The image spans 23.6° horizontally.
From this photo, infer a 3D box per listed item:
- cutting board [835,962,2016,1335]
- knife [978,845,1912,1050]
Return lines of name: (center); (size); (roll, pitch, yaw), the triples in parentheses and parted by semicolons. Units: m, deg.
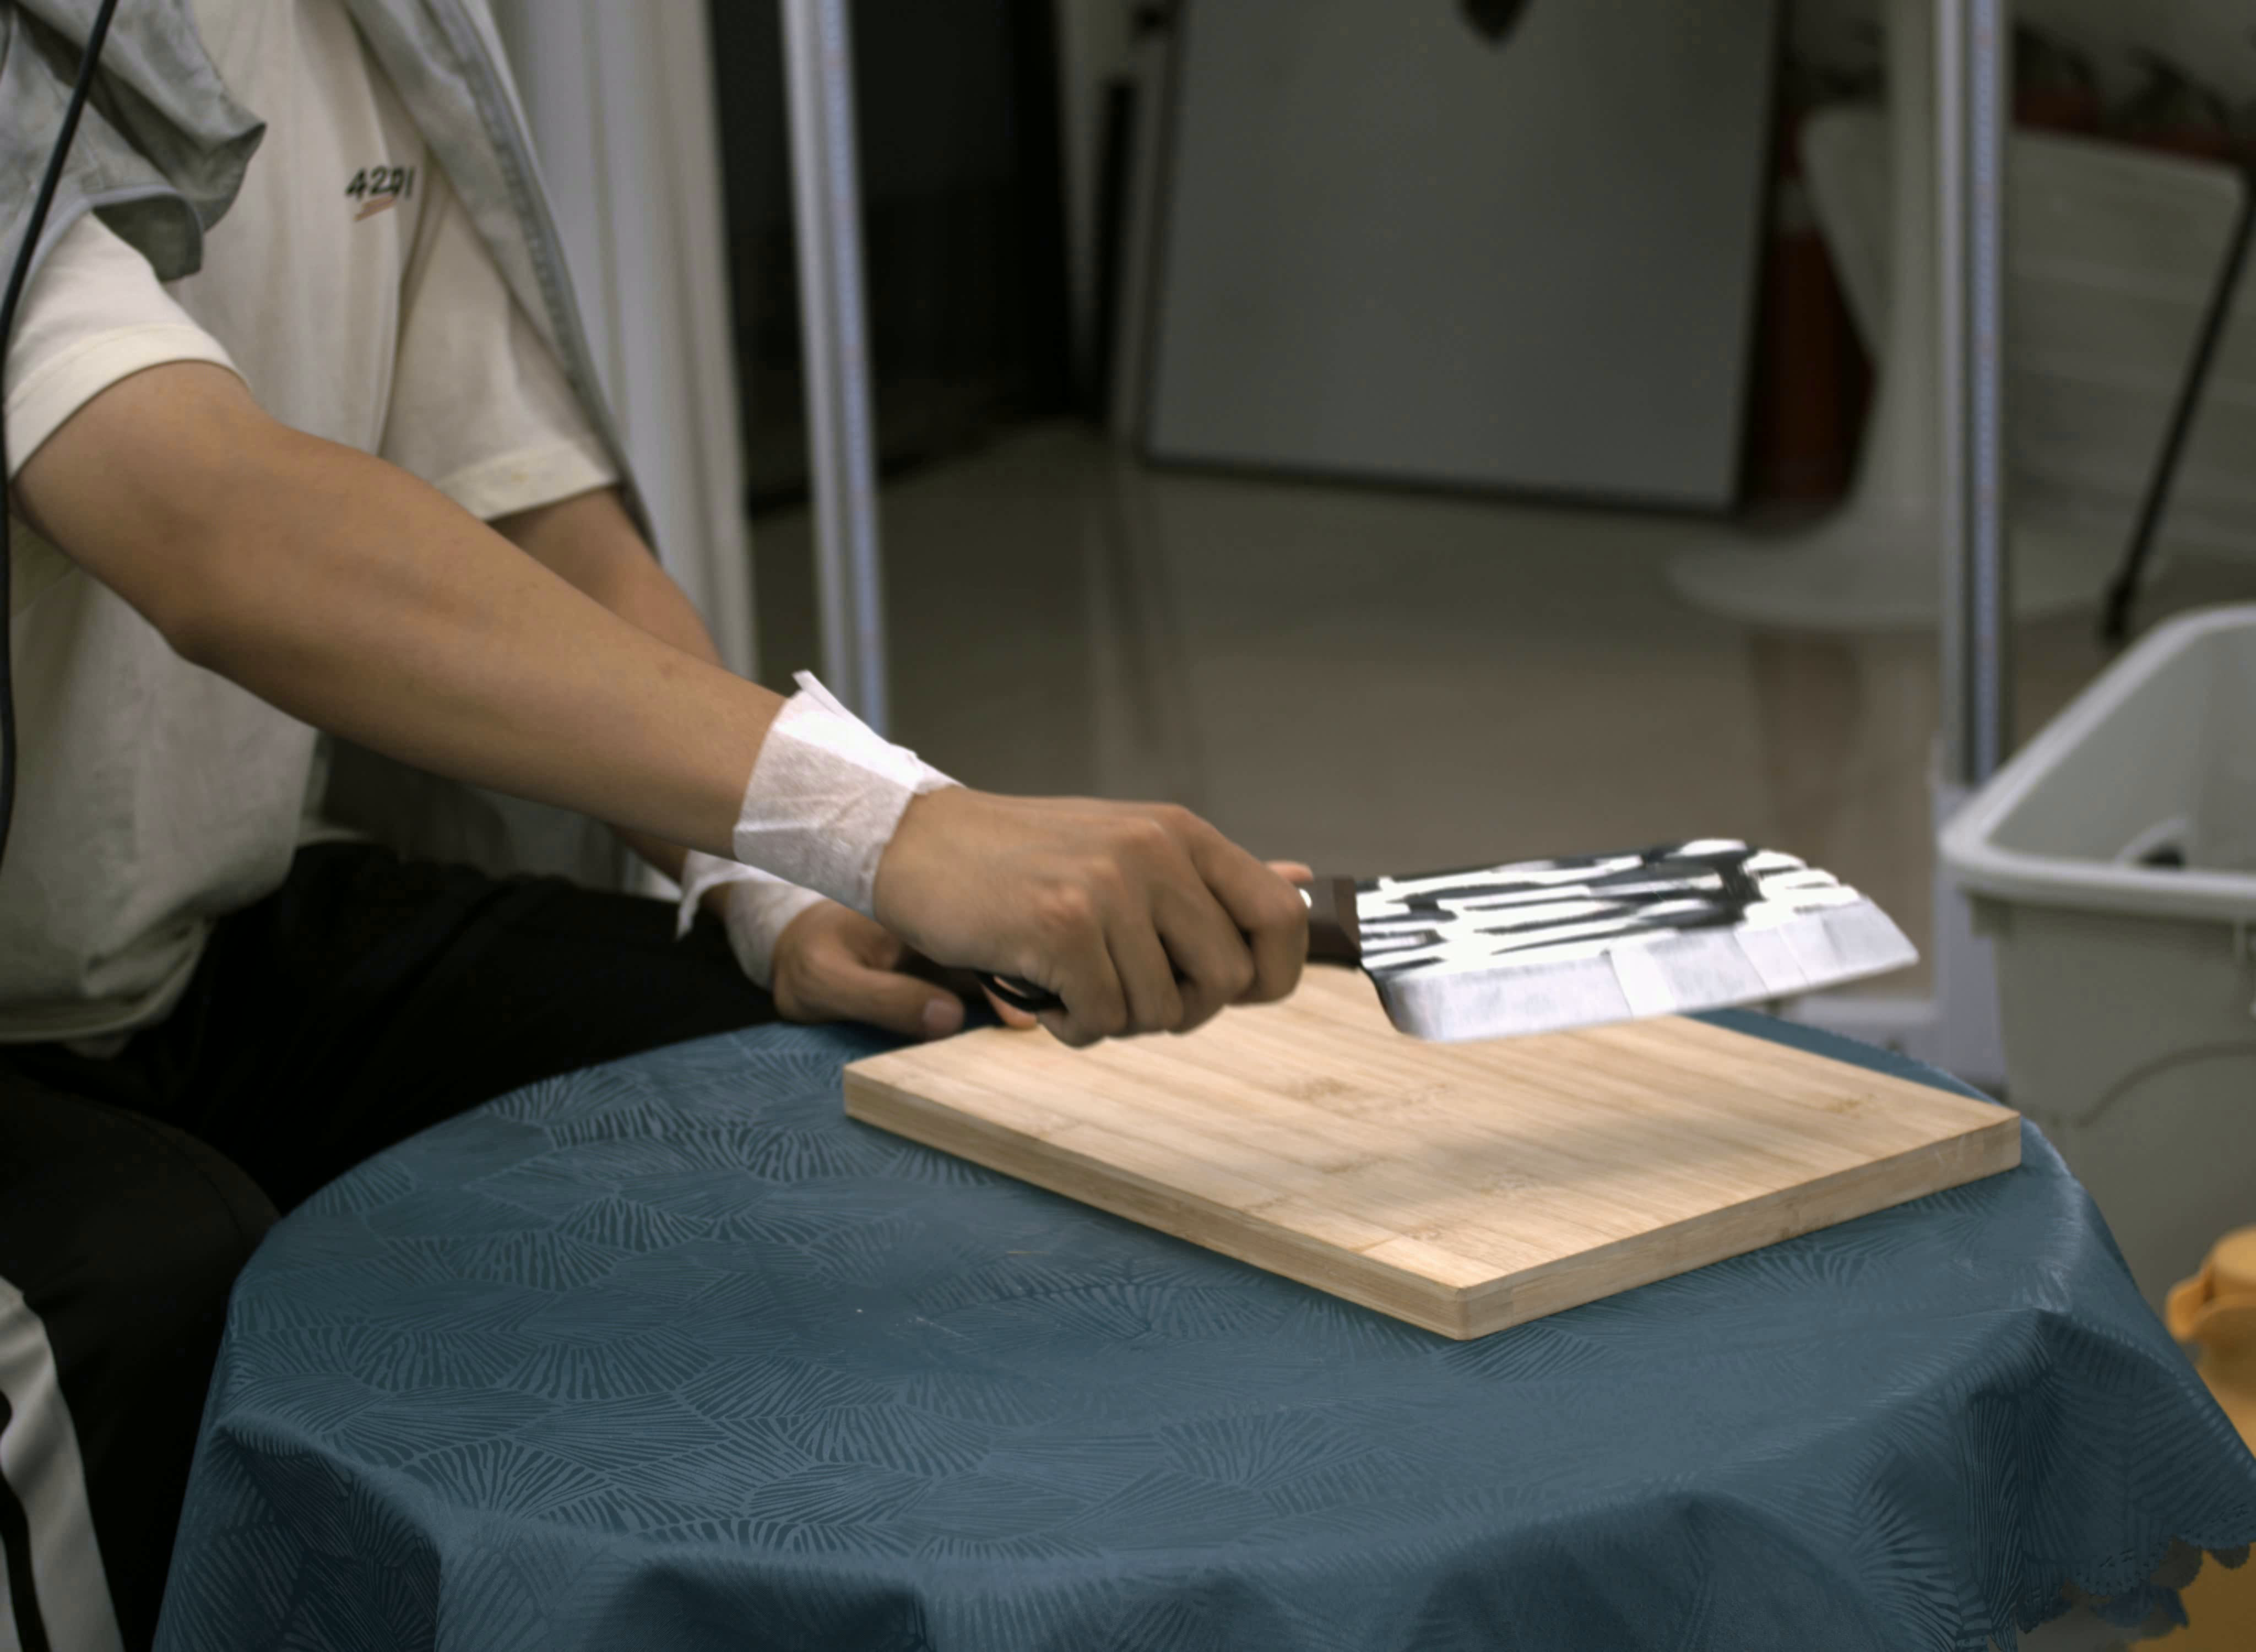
cutting board: (0.092, 0.098, 1.811); (0.245, 0.024, 0.352); (-13, 16, -35)
knife: (0.102, 0.041, 1.696); (0.294, 0.024, 0.069); (-6, 51, -11)
